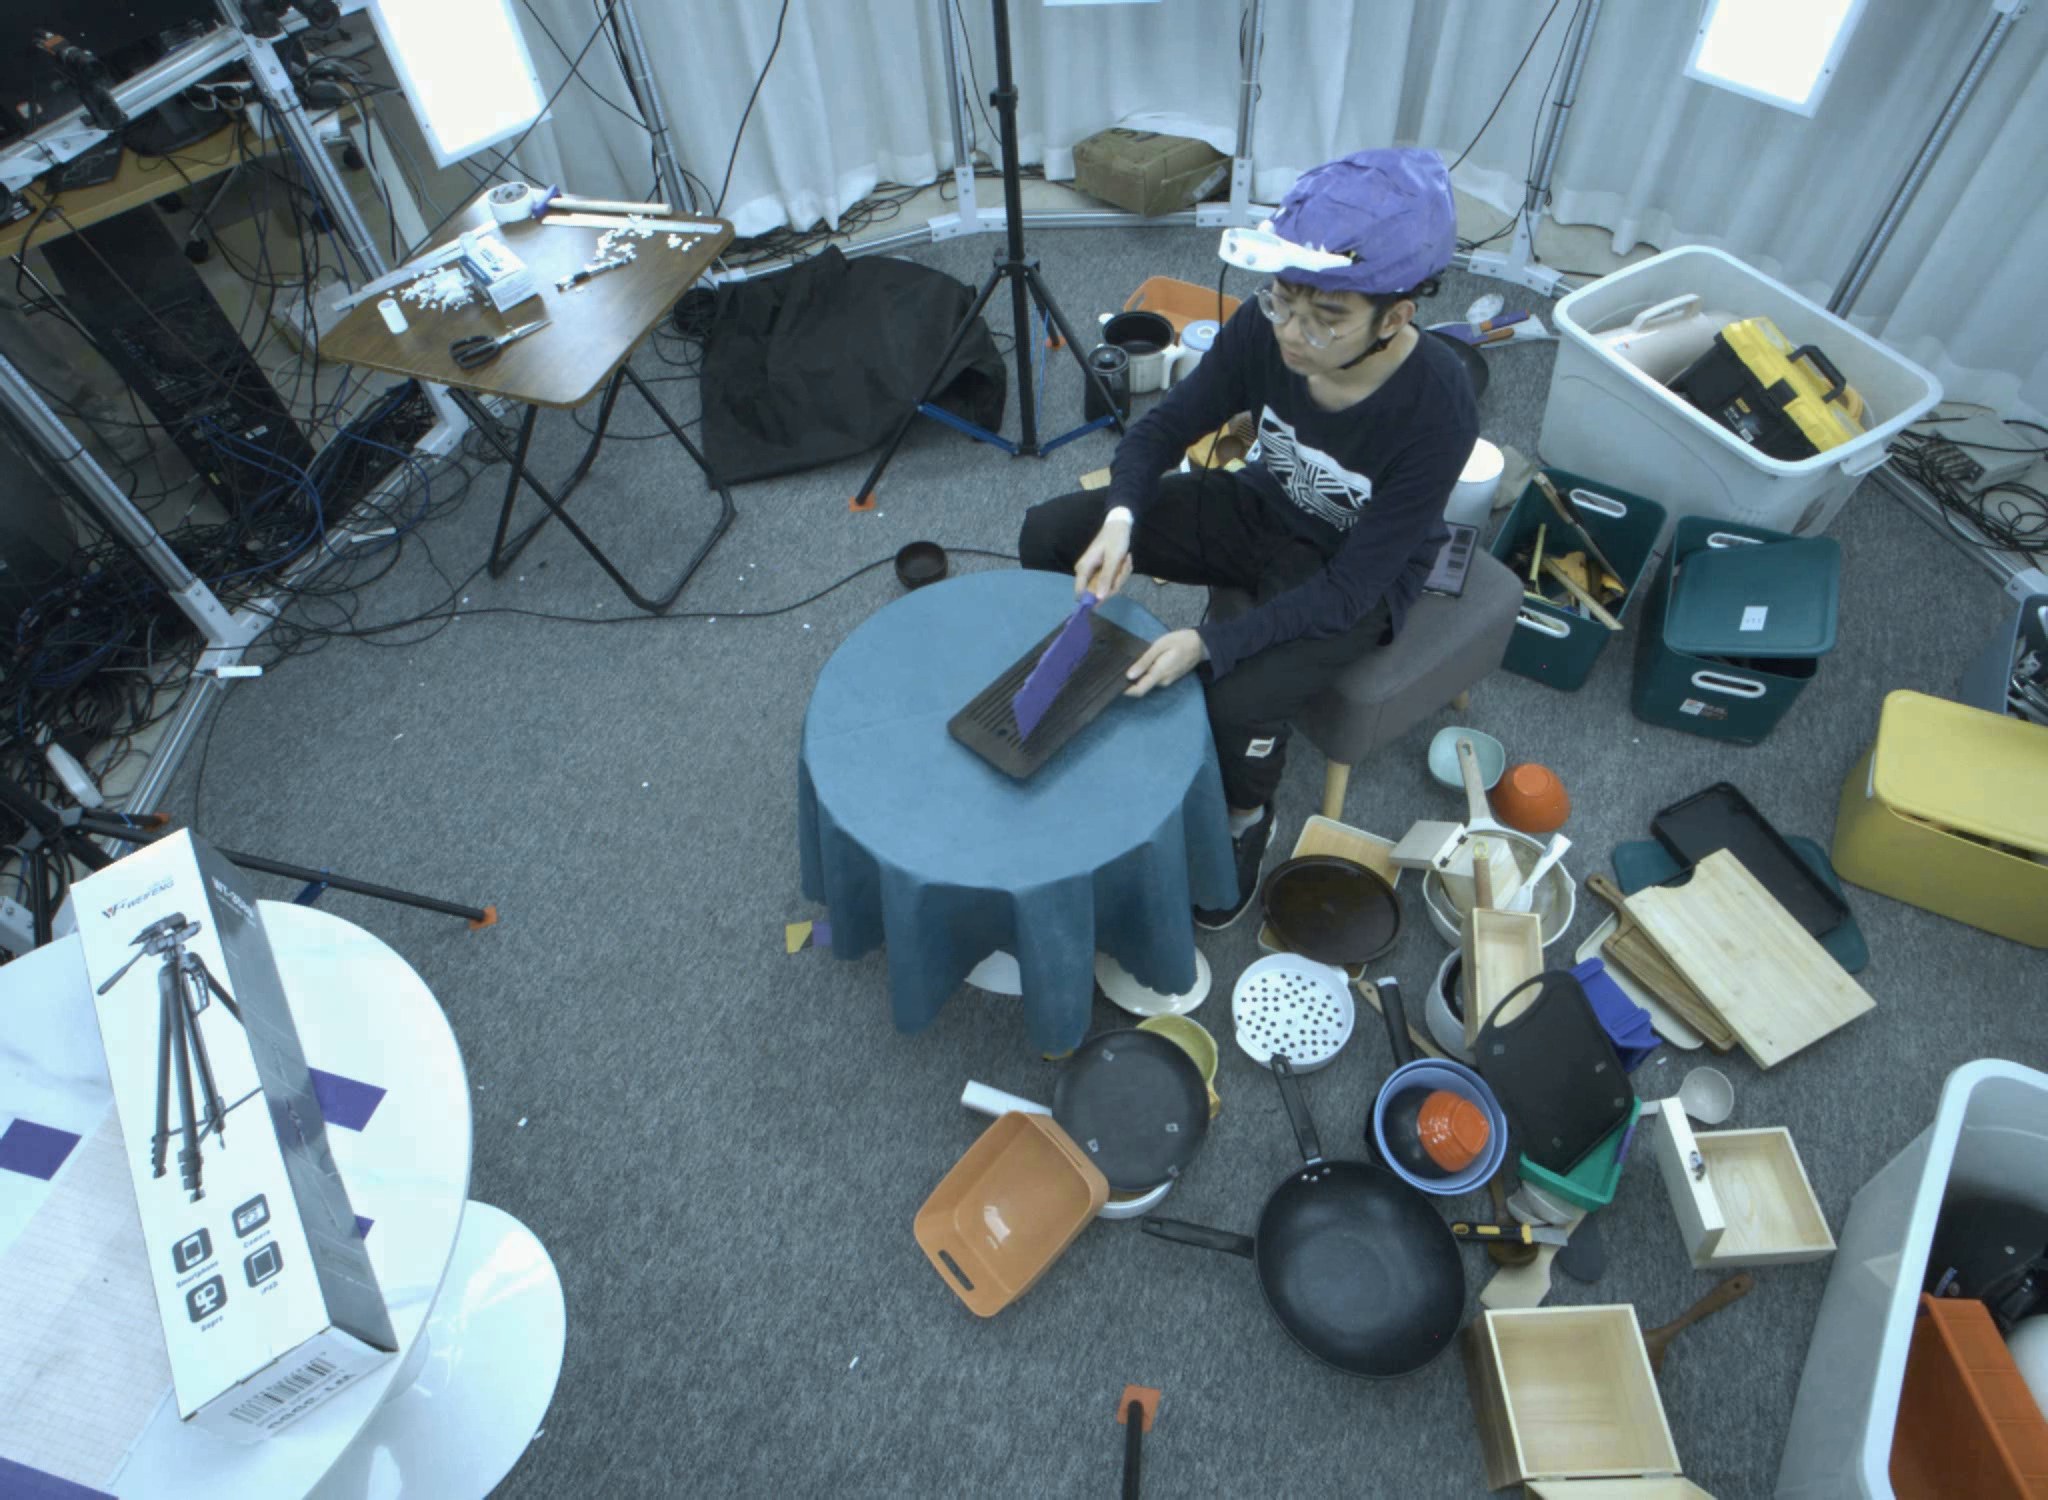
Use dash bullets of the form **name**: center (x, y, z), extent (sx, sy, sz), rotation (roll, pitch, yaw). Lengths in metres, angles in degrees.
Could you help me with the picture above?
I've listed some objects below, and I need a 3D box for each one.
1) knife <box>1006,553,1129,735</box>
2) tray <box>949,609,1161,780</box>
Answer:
- **knife**: center (0.064, -0.155, 1.794), extent (0.031, 0.105, 0.316), rotation (25, 61, 24)
- **tray**: center (0.047, -0.086, 1.825), extent (0.166, 0.019, 0.308), rotation (34, 64, 31)
